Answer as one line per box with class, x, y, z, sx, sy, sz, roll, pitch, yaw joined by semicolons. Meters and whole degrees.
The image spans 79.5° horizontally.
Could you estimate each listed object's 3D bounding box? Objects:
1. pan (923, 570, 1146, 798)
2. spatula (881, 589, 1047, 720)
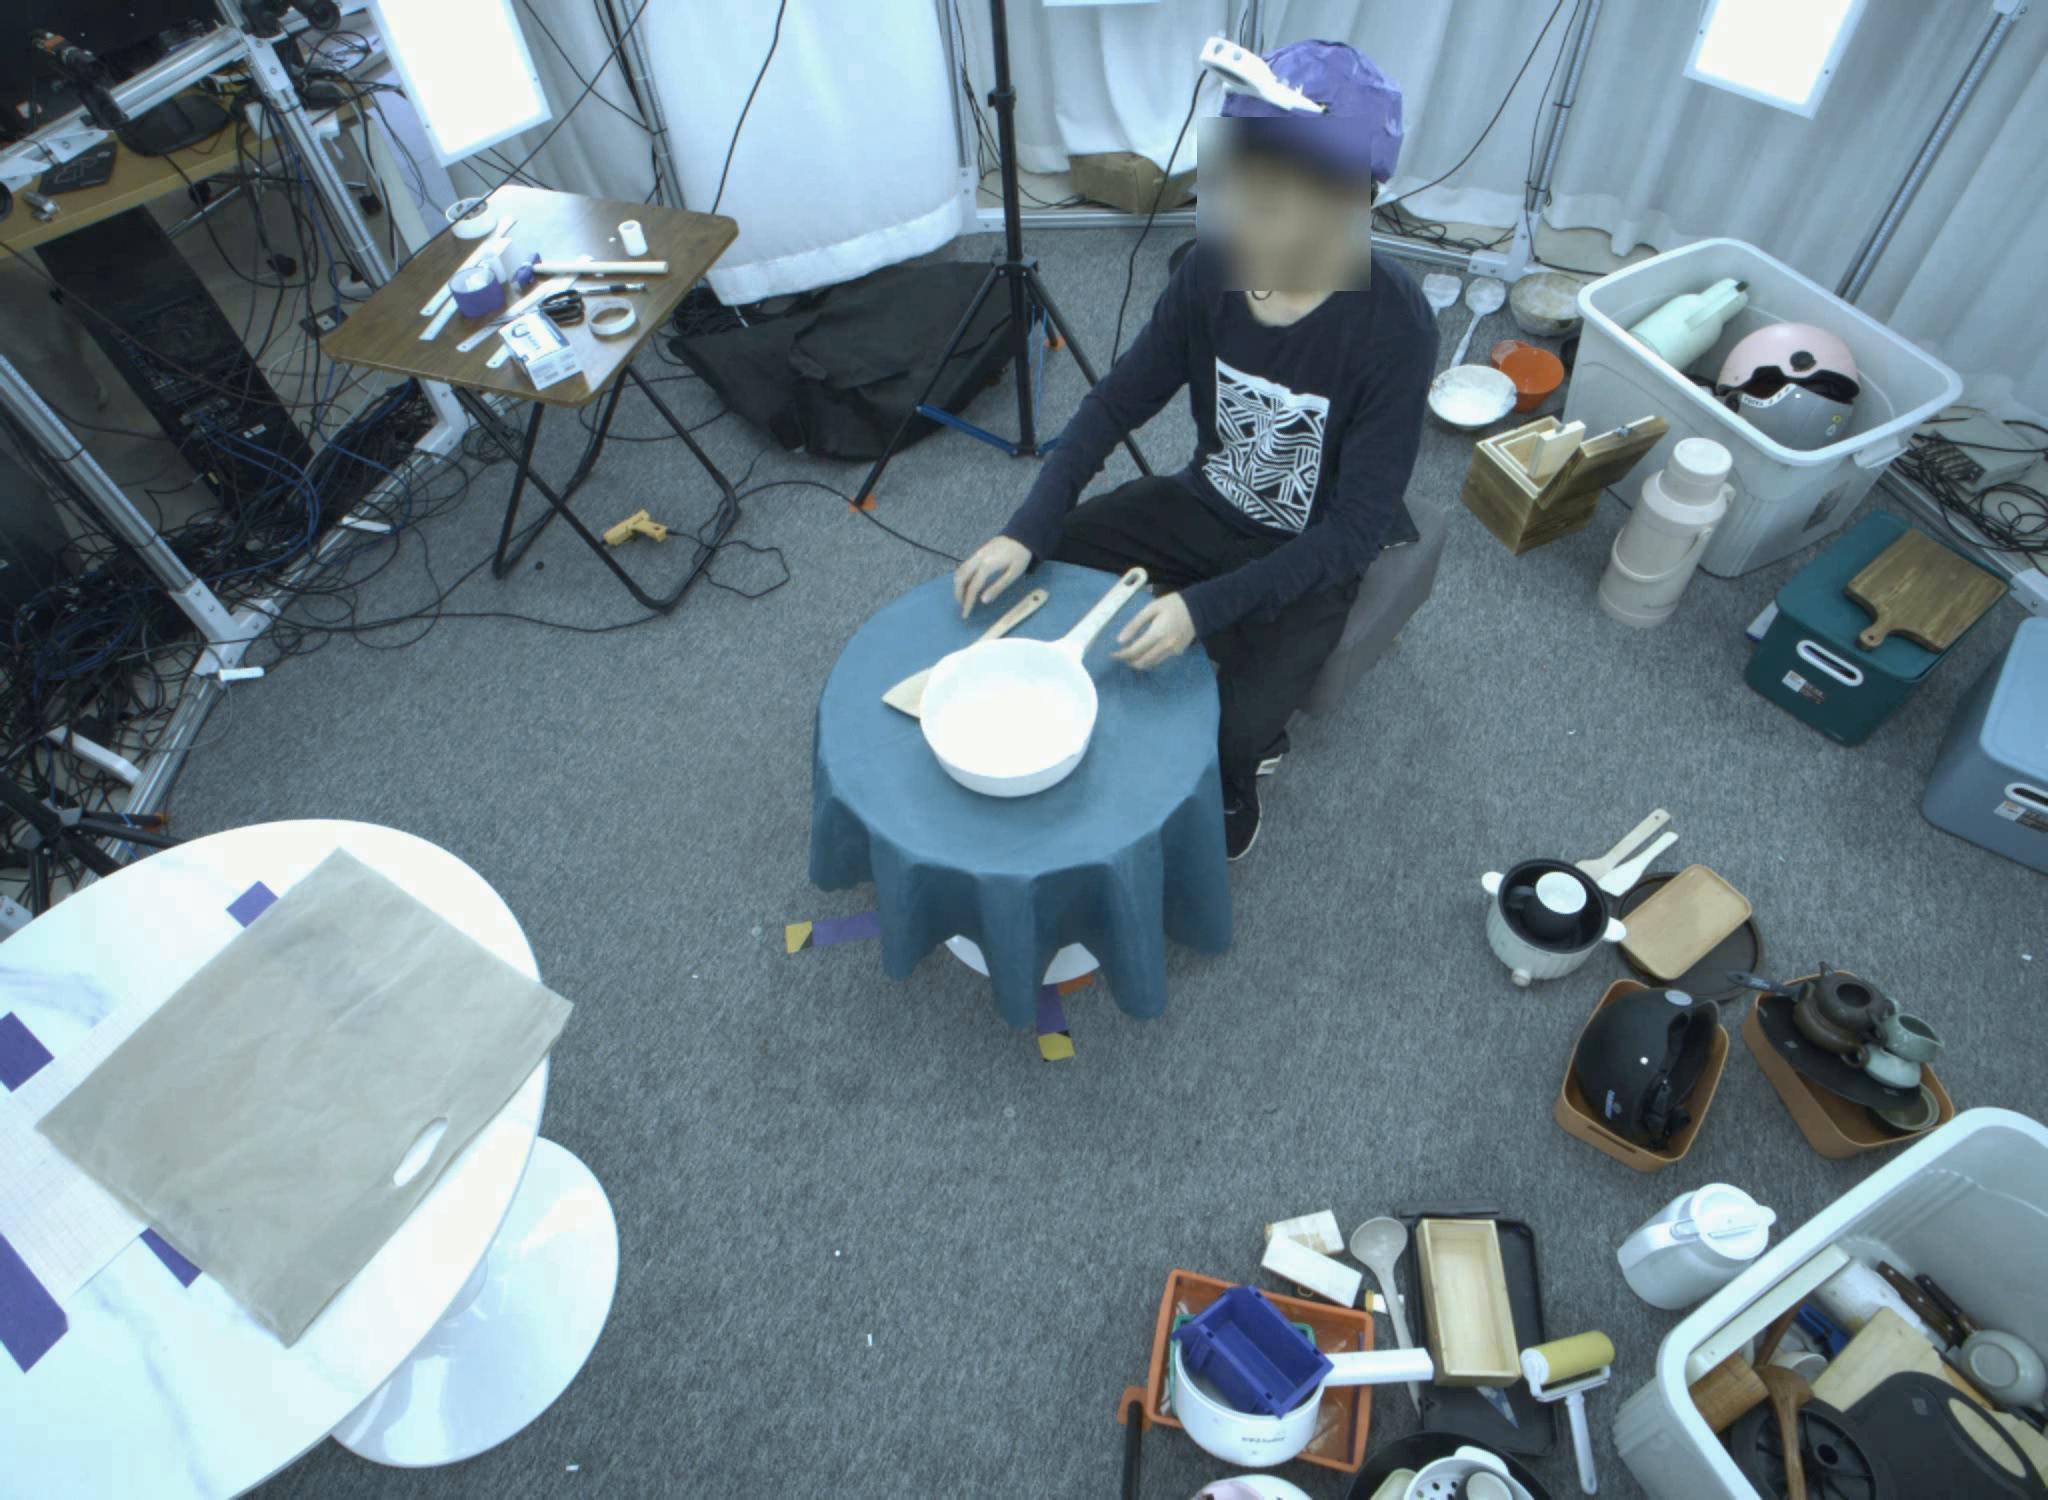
pan;0.043;-0.101;1.798;0.259;0.103;0.437;33;61;24
spatula;-0.079;-0.154;1.891;0.078;0.017;0.329;36;64;24
